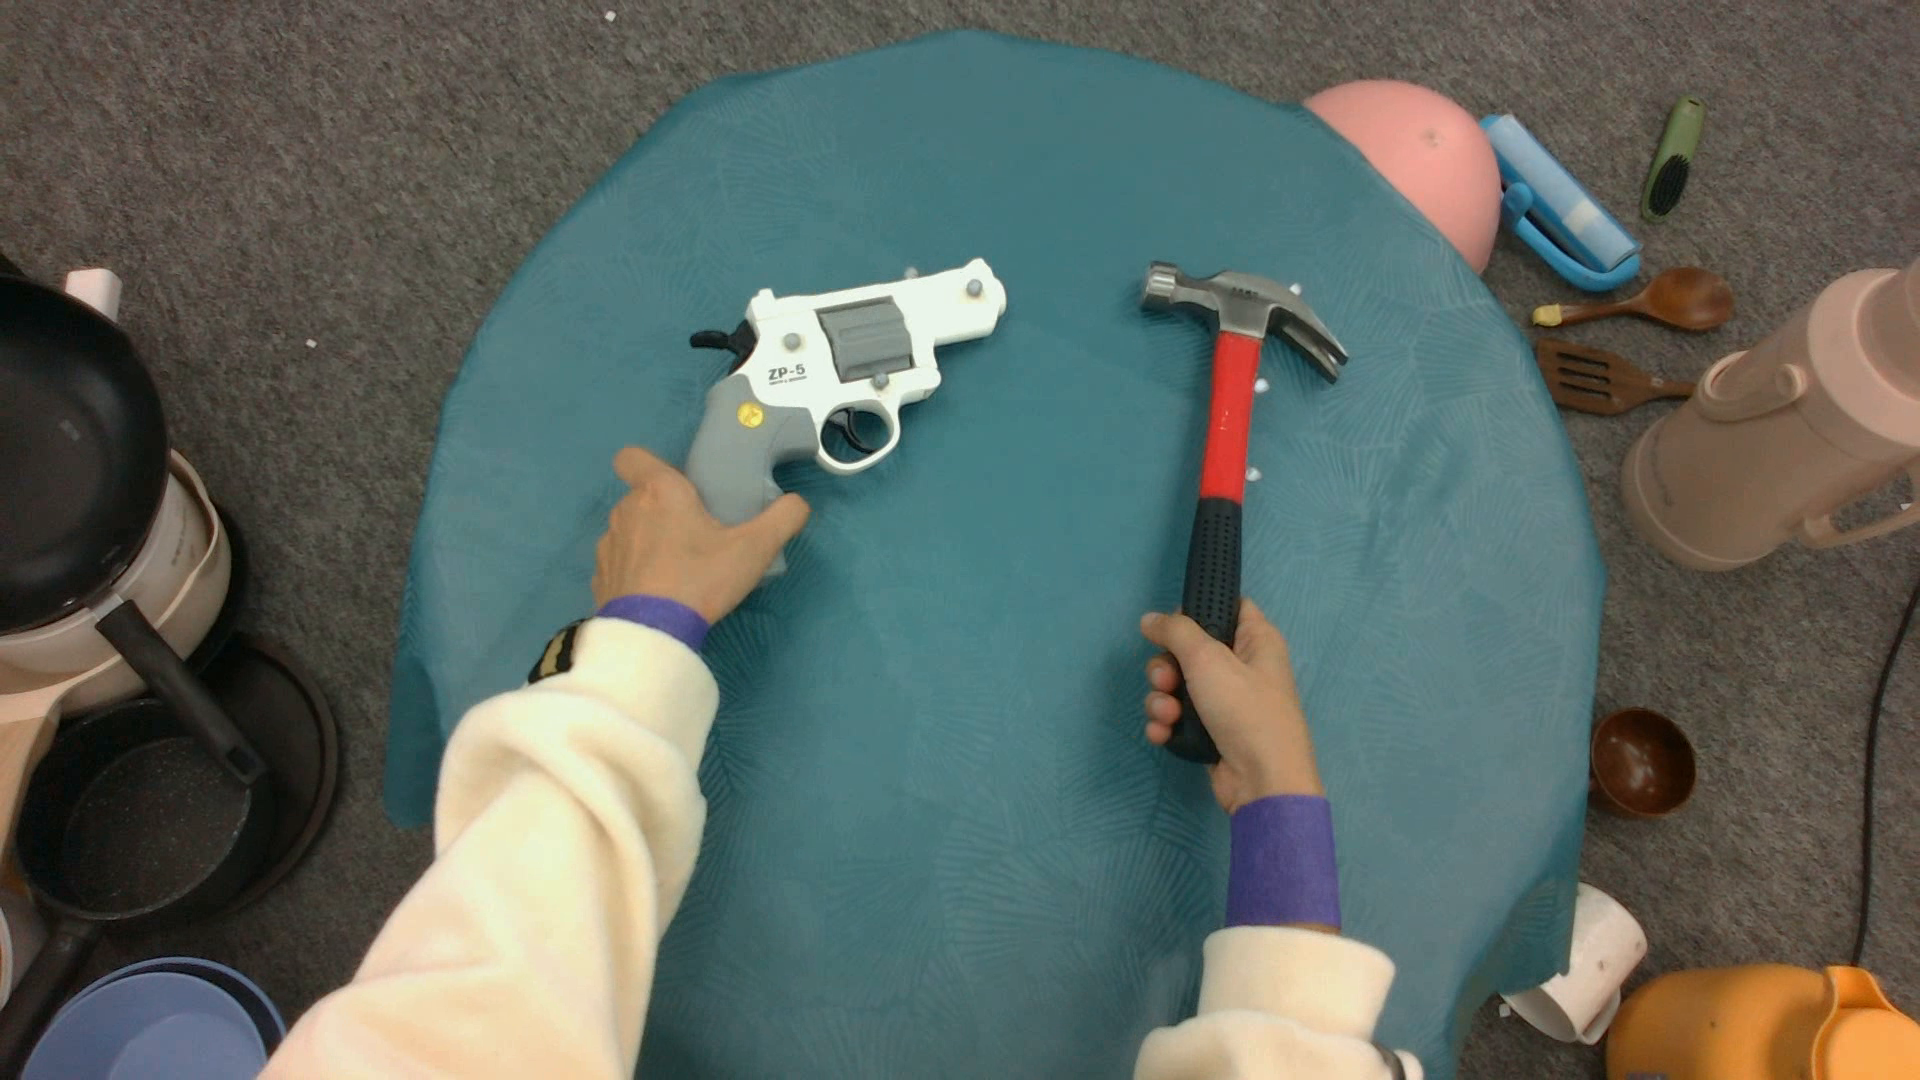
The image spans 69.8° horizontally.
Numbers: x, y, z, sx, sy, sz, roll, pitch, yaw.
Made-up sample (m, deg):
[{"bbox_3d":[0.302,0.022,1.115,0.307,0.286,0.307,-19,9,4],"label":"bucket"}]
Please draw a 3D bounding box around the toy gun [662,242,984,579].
[{"bbox_3d":[-0.065,-0.070,0.685,0.210,0.038,0.142,-16,82,-26],"label":"toy gun"}]

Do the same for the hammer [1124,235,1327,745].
[{"bbox_3d":[0.124,-0.030,0.682,0.111,0.026,0.278,16,60,-9],"label":"hammer"}]
